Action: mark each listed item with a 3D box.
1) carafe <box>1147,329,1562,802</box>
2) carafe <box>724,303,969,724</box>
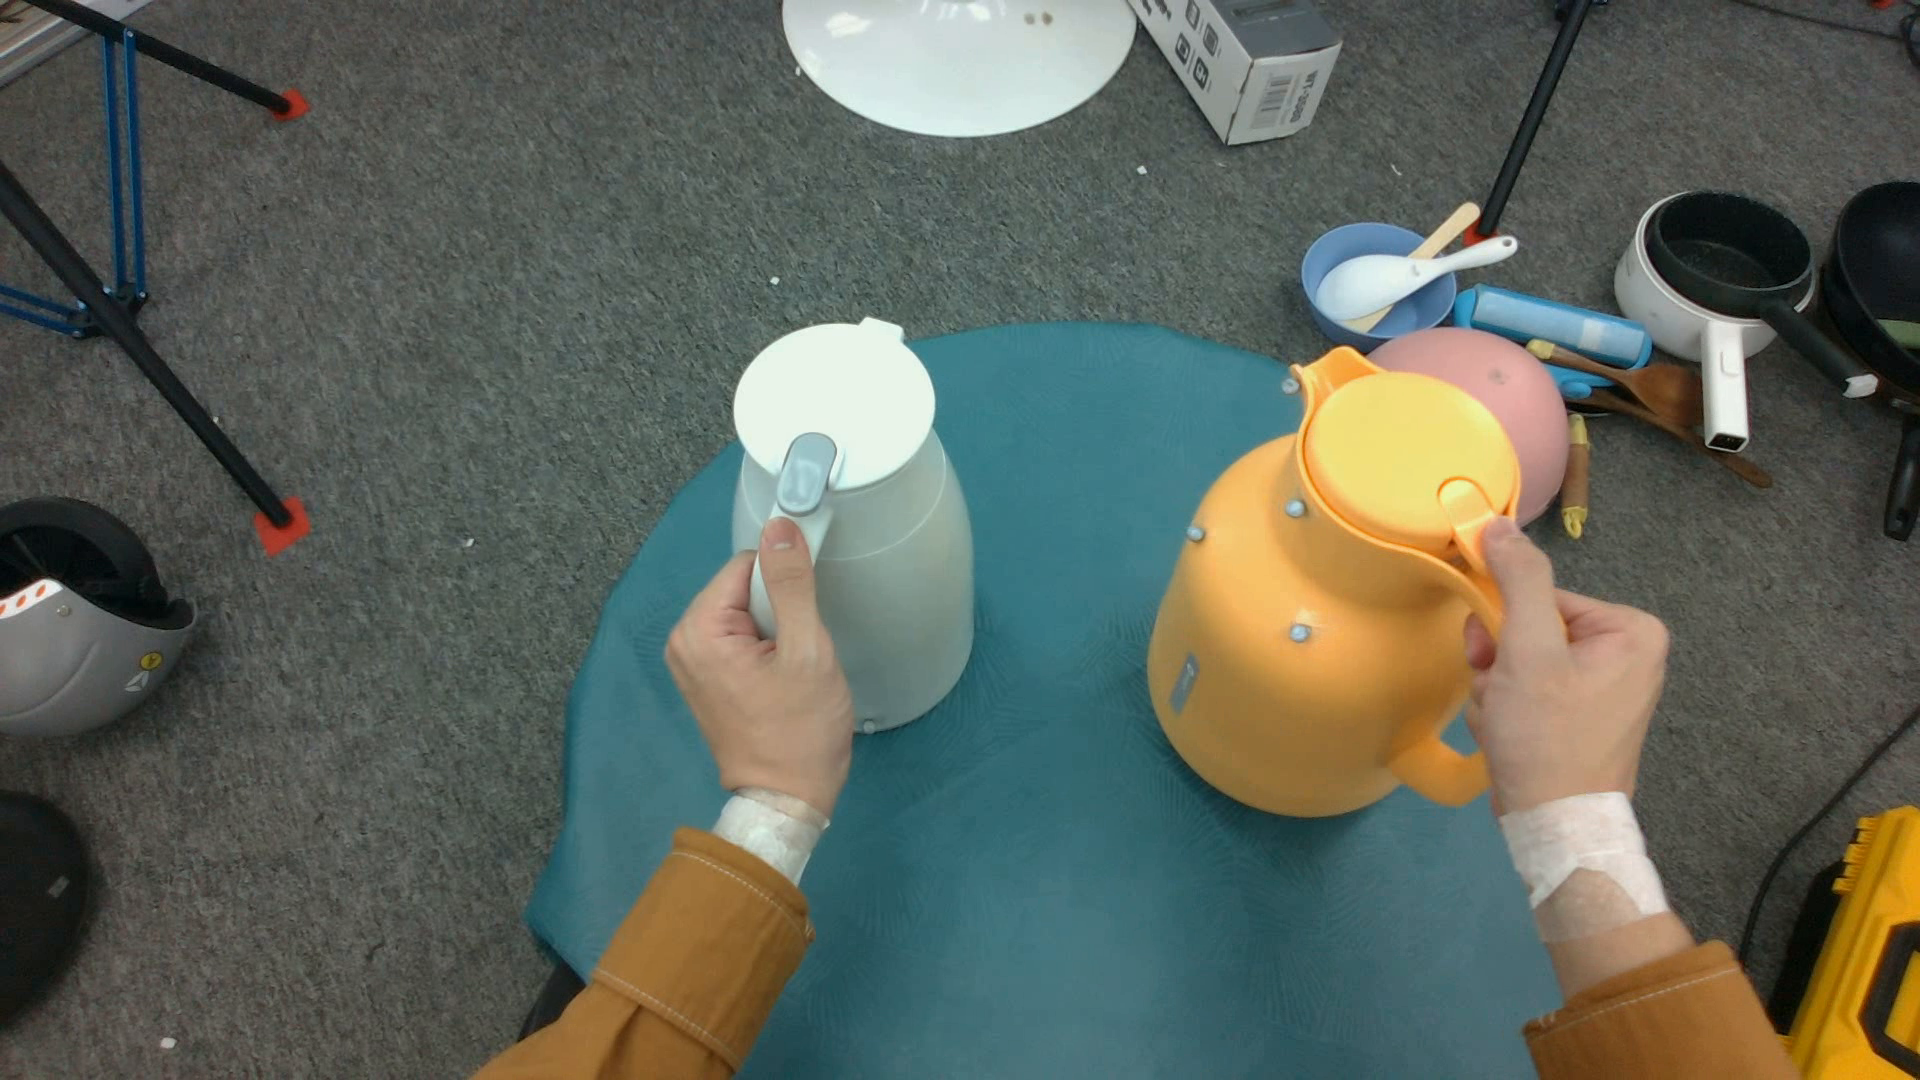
[{"bbox_3d":[0.196,0.033,0.690,0.164,0.259,0.203,-22,60,-13],"label":"carafe"},{"bbox_3d":[-0.066,0.005,0.713,0.132,0.247,0.168,16,62,8],"label":"carafe"}]
